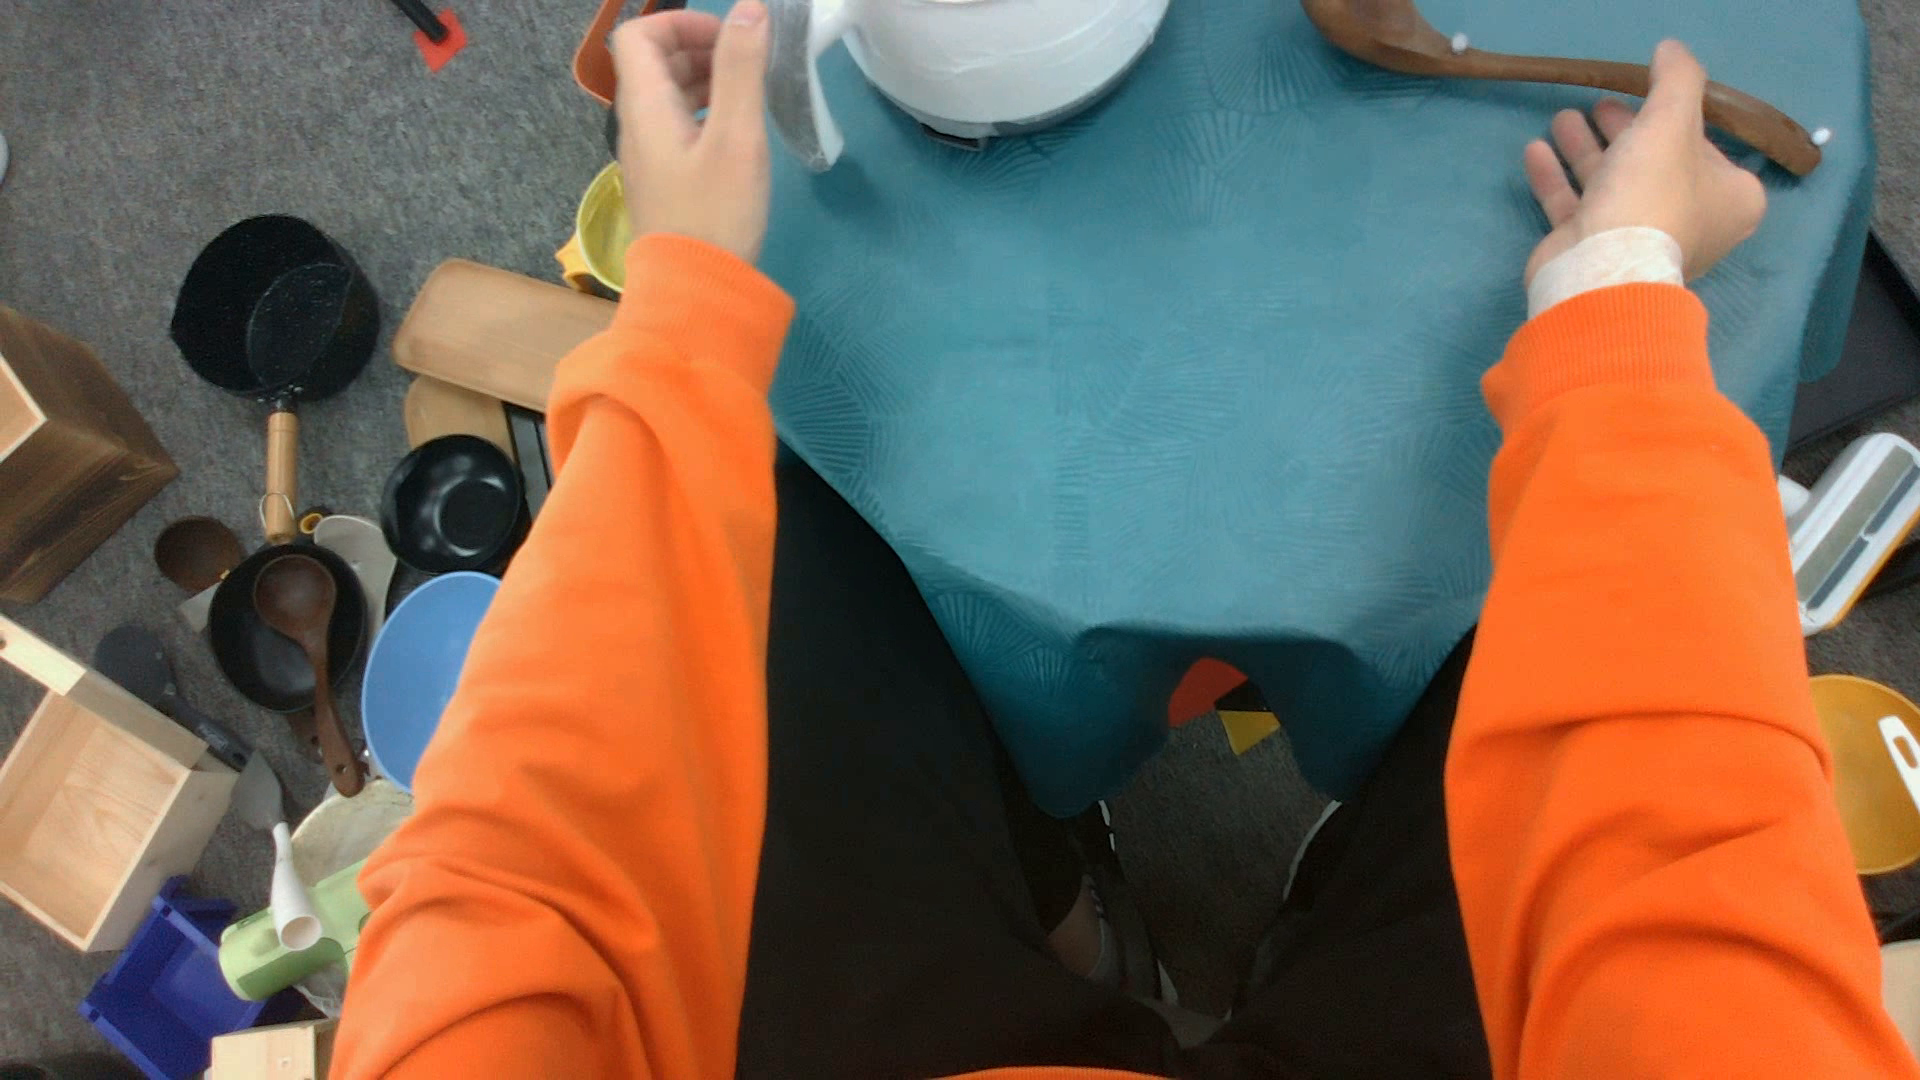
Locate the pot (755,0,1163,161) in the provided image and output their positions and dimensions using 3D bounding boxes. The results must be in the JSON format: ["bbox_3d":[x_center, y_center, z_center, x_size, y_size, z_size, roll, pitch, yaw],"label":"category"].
[{"bbox_3d":[-0.007,-0.286,0.669,0.234,0.136,0.179,-42,73,-3],"label":"pot"}]

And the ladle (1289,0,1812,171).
[{"bbox_3d":[0.278,-0.238,0.652,0.260,0.065,0.077,21,55,14],"label":"ladle"}]
